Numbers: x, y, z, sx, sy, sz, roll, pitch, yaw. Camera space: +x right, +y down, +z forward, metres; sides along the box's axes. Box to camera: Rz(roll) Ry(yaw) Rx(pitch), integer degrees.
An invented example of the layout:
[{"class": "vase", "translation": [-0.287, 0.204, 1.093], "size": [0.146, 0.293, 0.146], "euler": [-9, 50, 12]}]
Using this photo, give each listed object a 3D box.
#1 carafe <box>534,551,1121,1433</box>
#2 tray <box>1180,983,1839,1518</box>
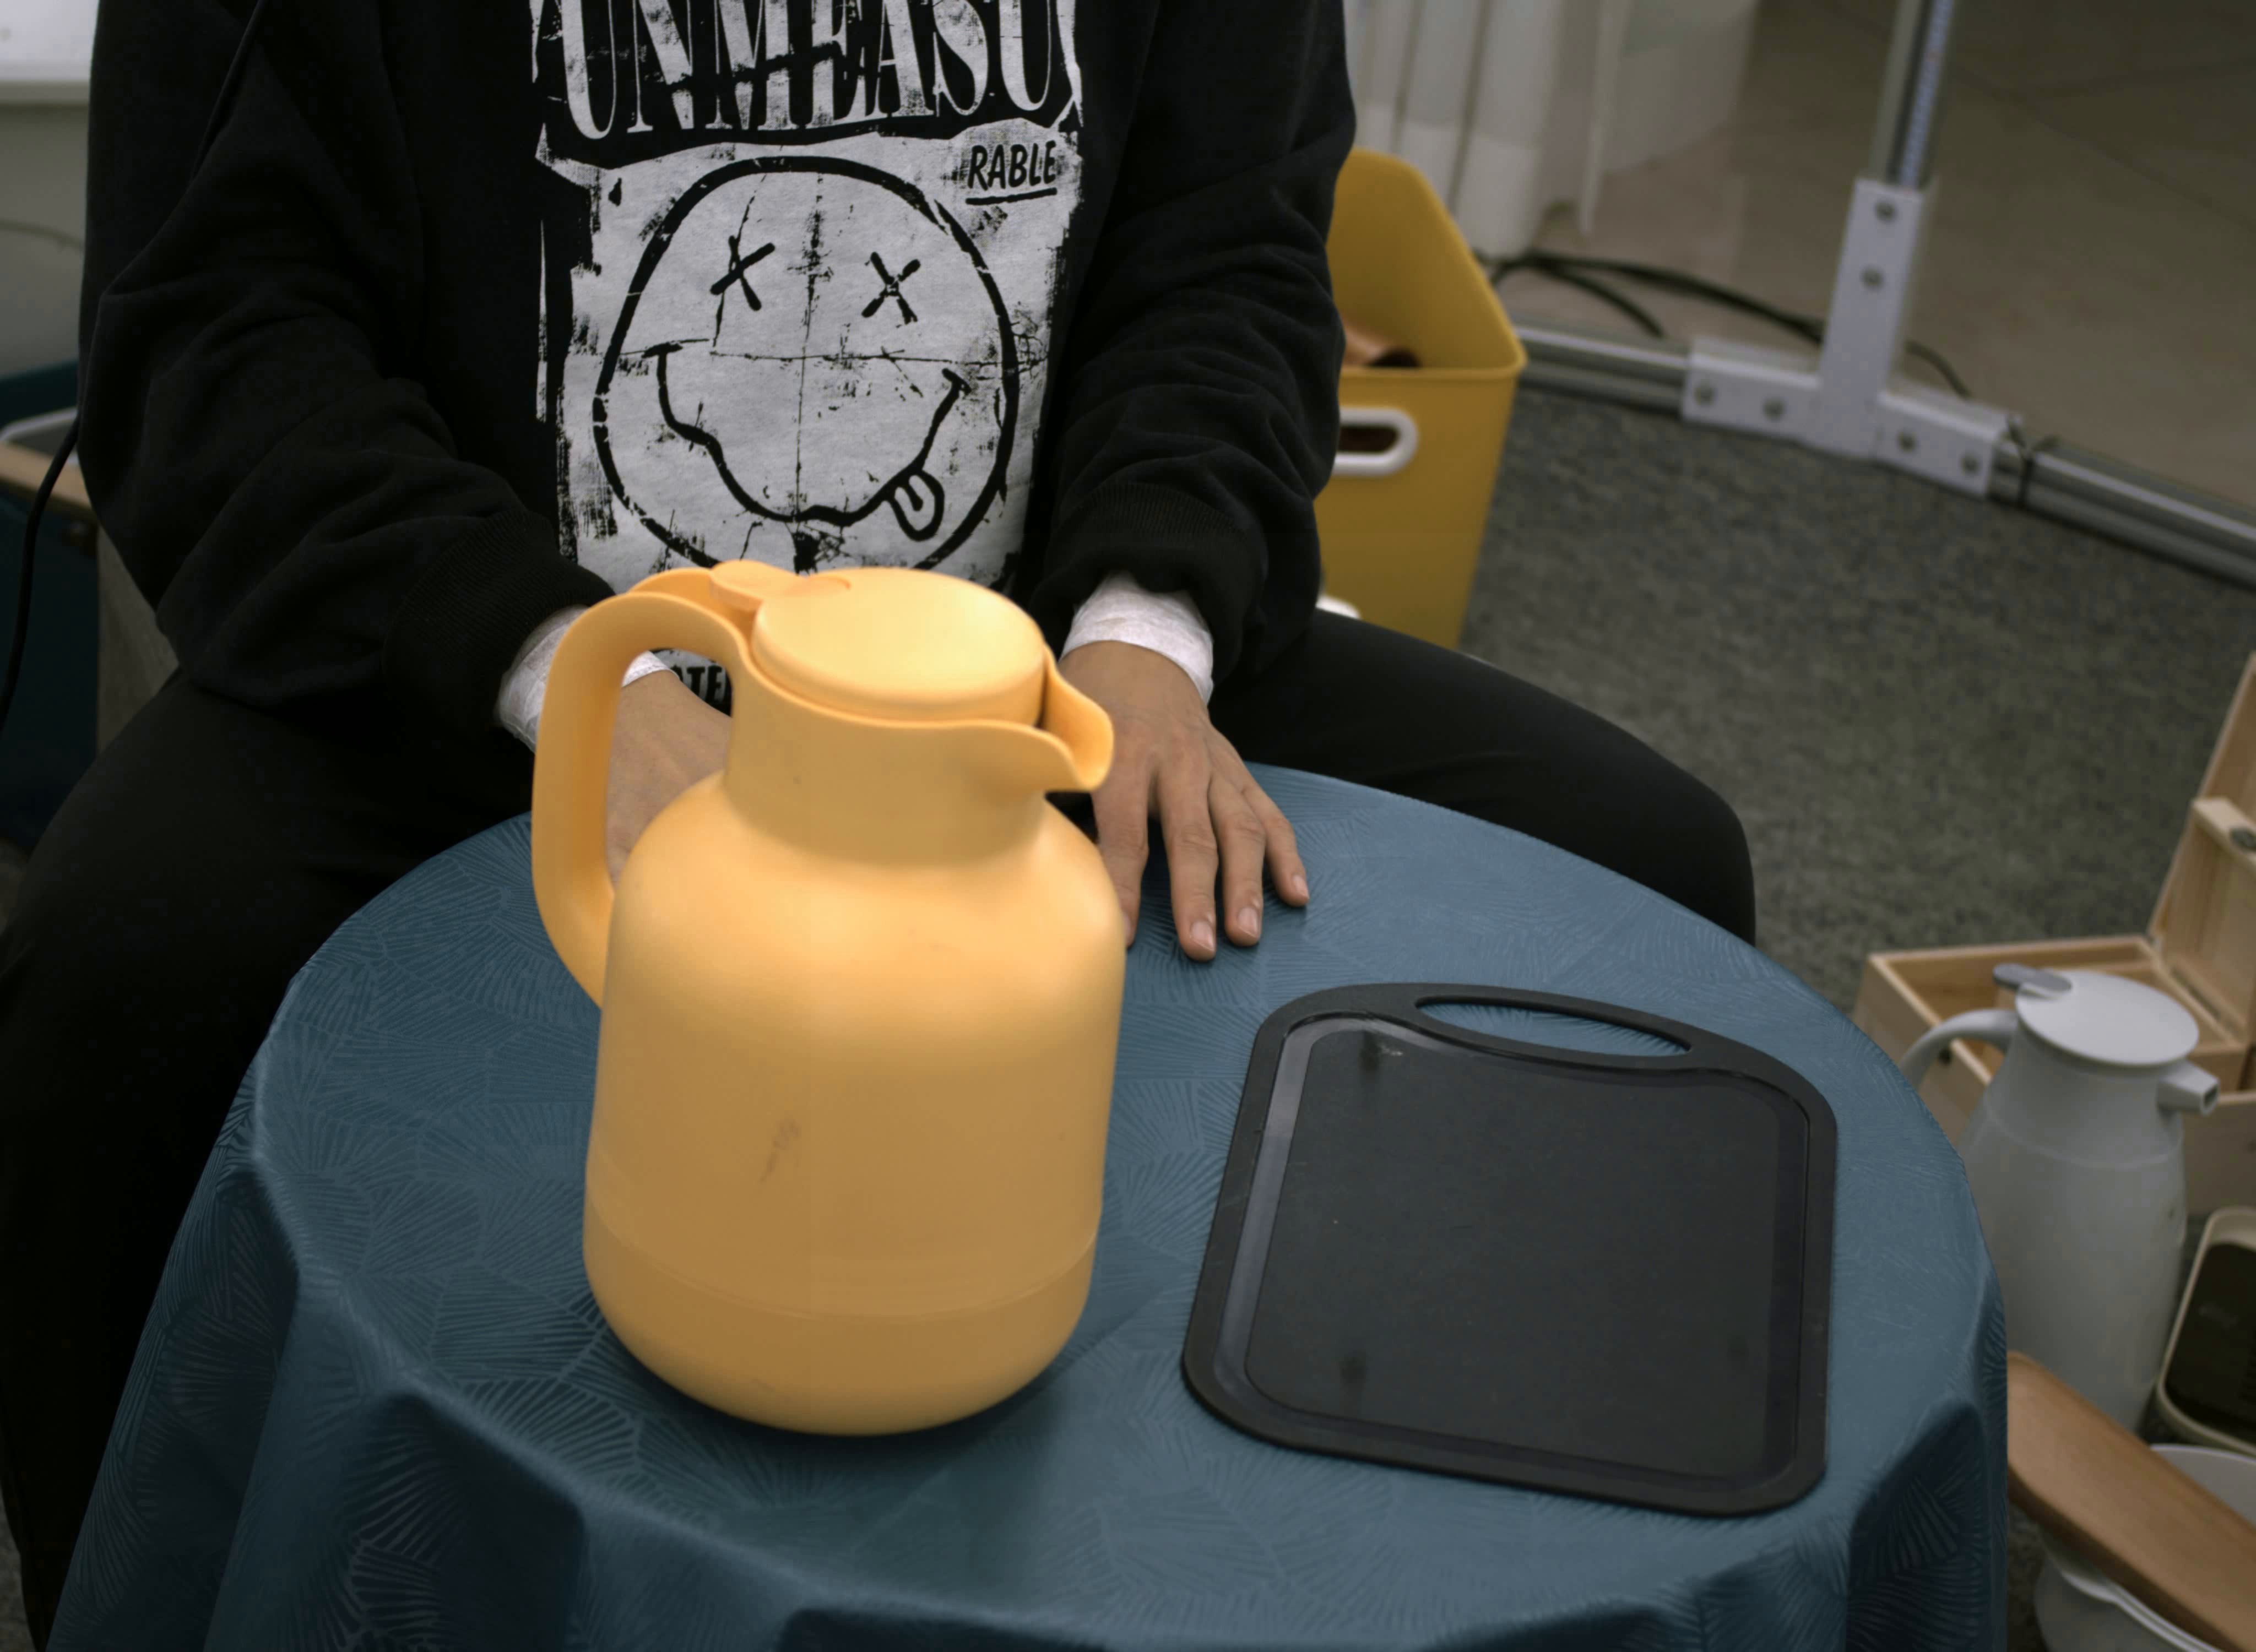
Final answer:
[{"class": "carafe", "translation": [-0.099, 0.041, 1.658], "size": [0.203, 0.260, 0.163], "euler": [23, 29, 27]}, {"class": "tray", "translation": [0.135, 0.133, 1.810], "size": [0.211, 0.010, 0.327], "euler": [9, 27, 5]}]
